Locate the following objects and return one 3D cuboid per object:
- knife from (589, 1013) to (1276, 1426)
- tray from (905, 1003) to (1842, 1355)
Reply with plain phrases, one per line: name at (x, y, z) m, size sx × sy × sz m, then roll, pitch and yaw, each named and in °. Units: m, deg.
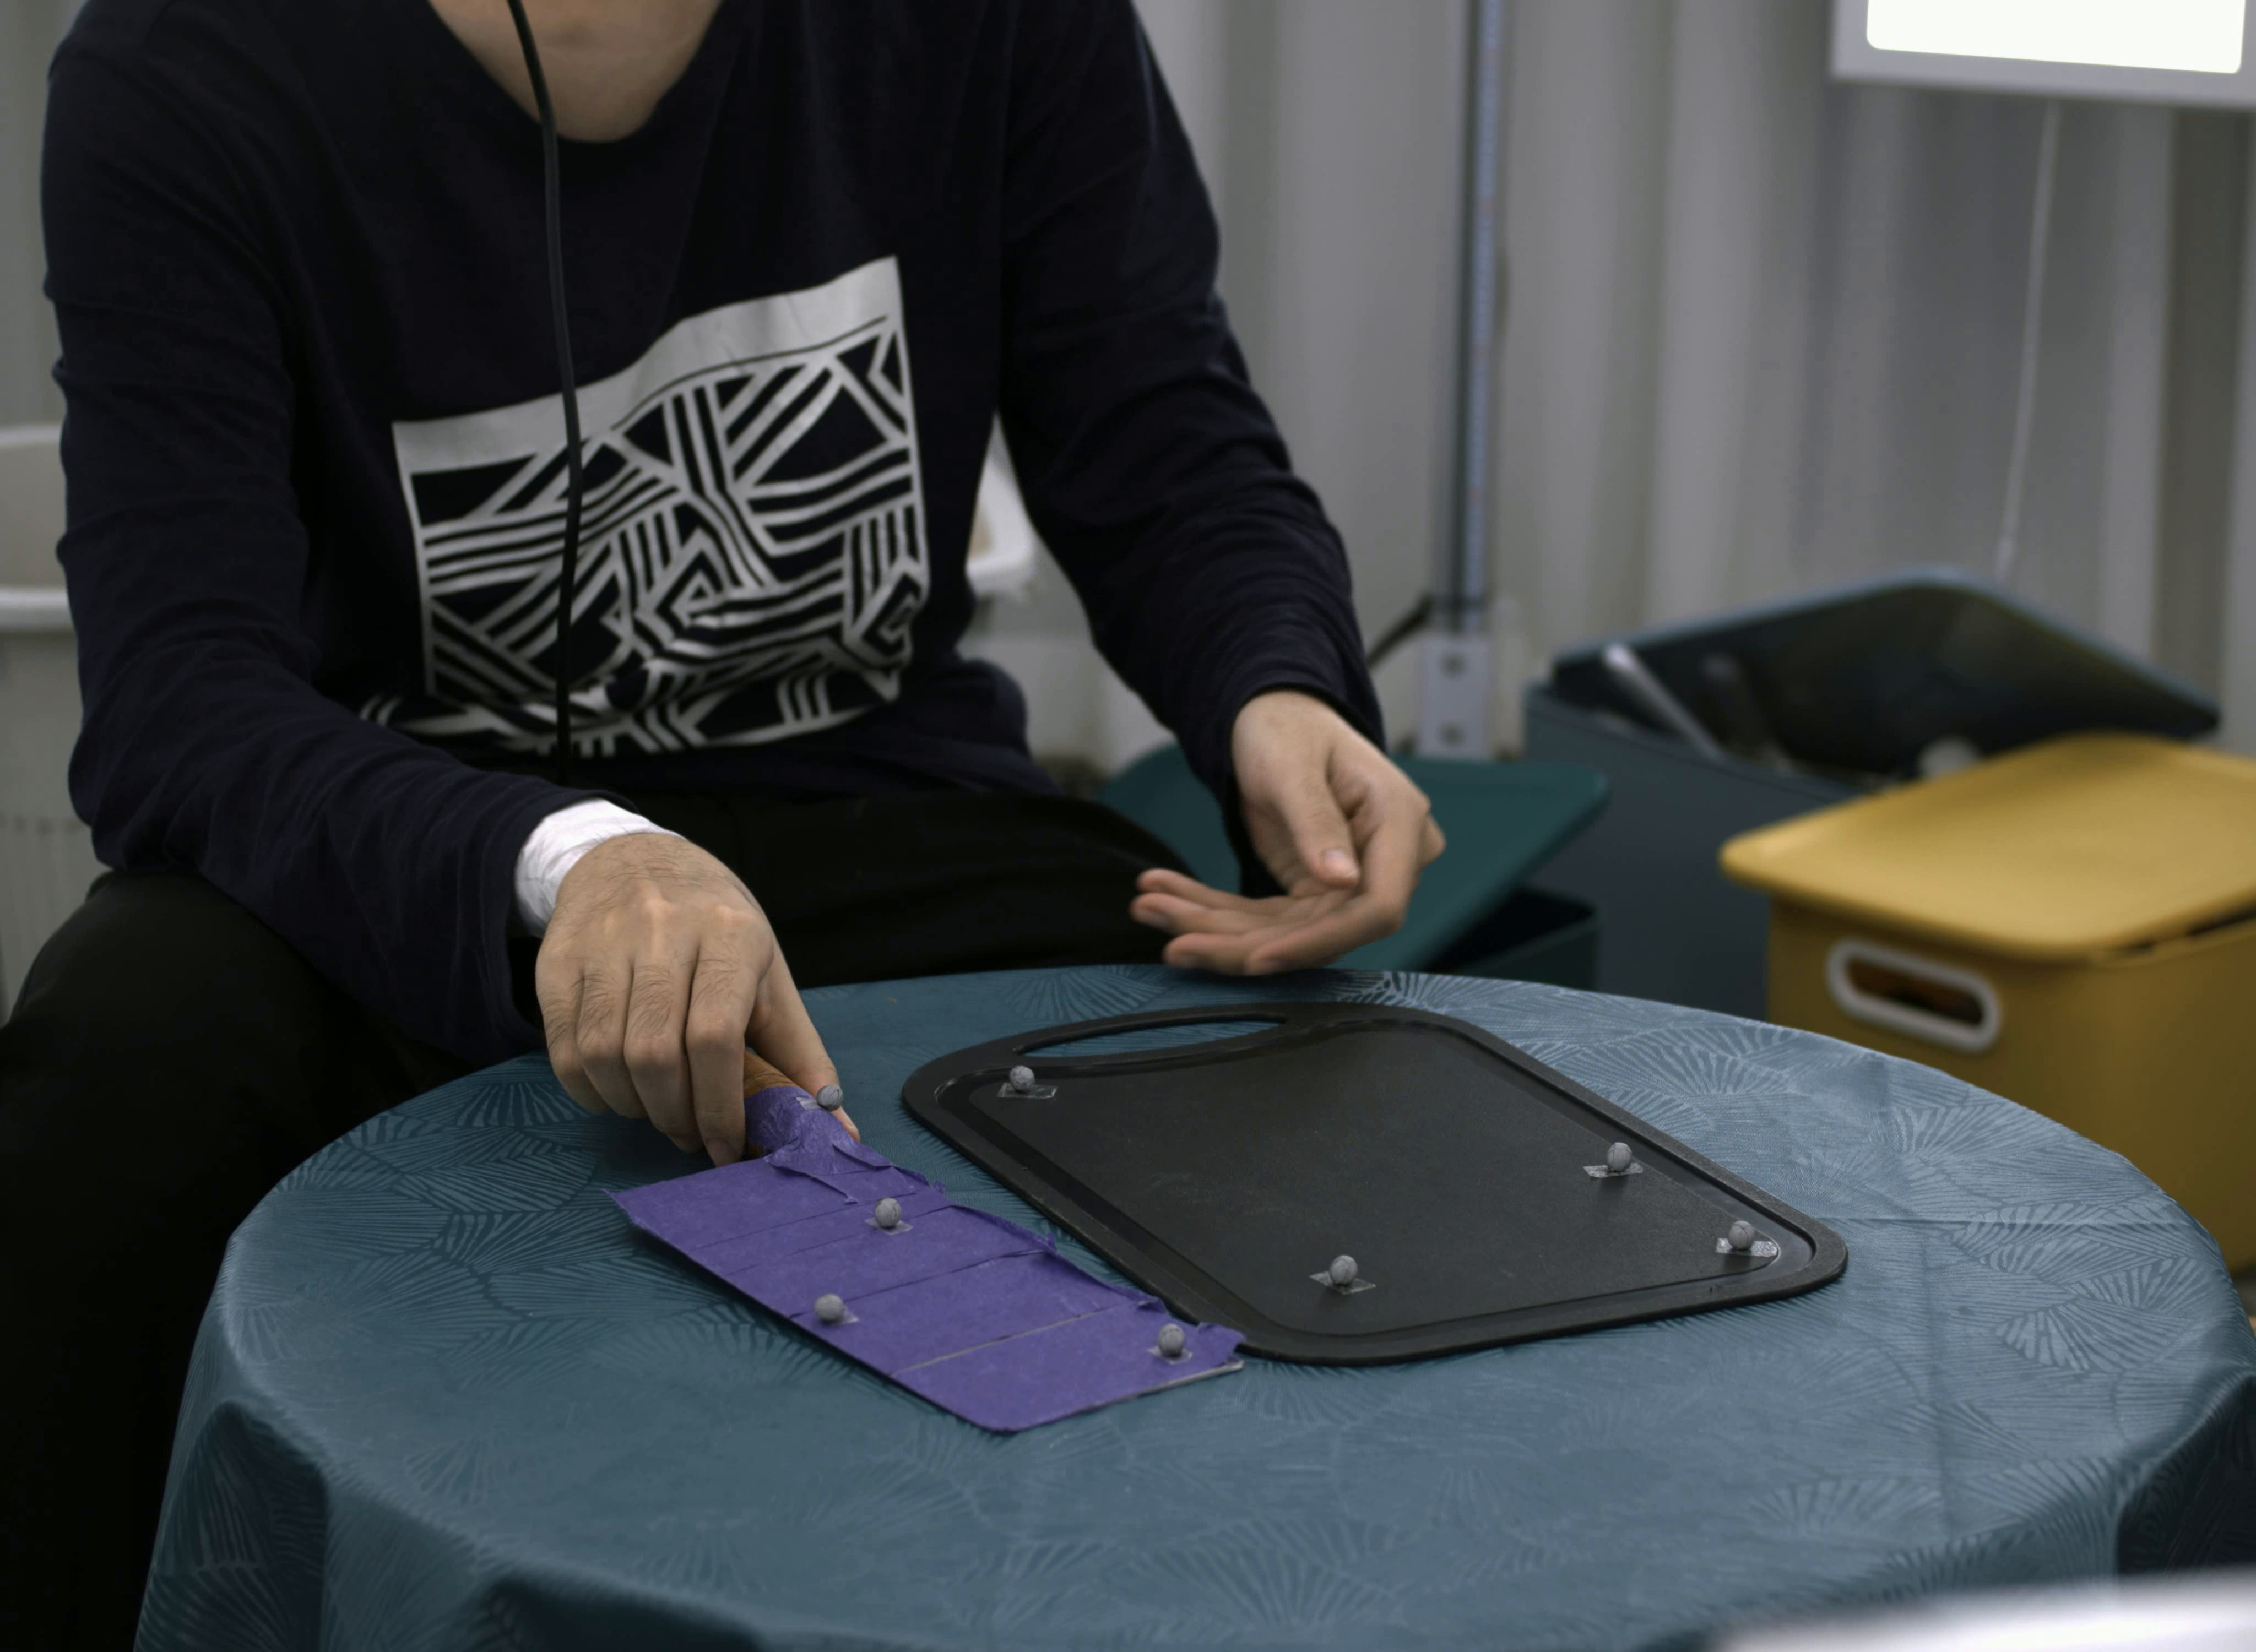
knife at (-0.091, 0.114, 1.566) m, size 0.104 × 0.032 × 0.311 m, roll -11°, pitch 20°, yaw -37°
tray at (0.066, 0.103, 1.648) m, size 0.212 × 0.010 × 0.321 m, roll -6°, pitch 17°, yaw -24°
